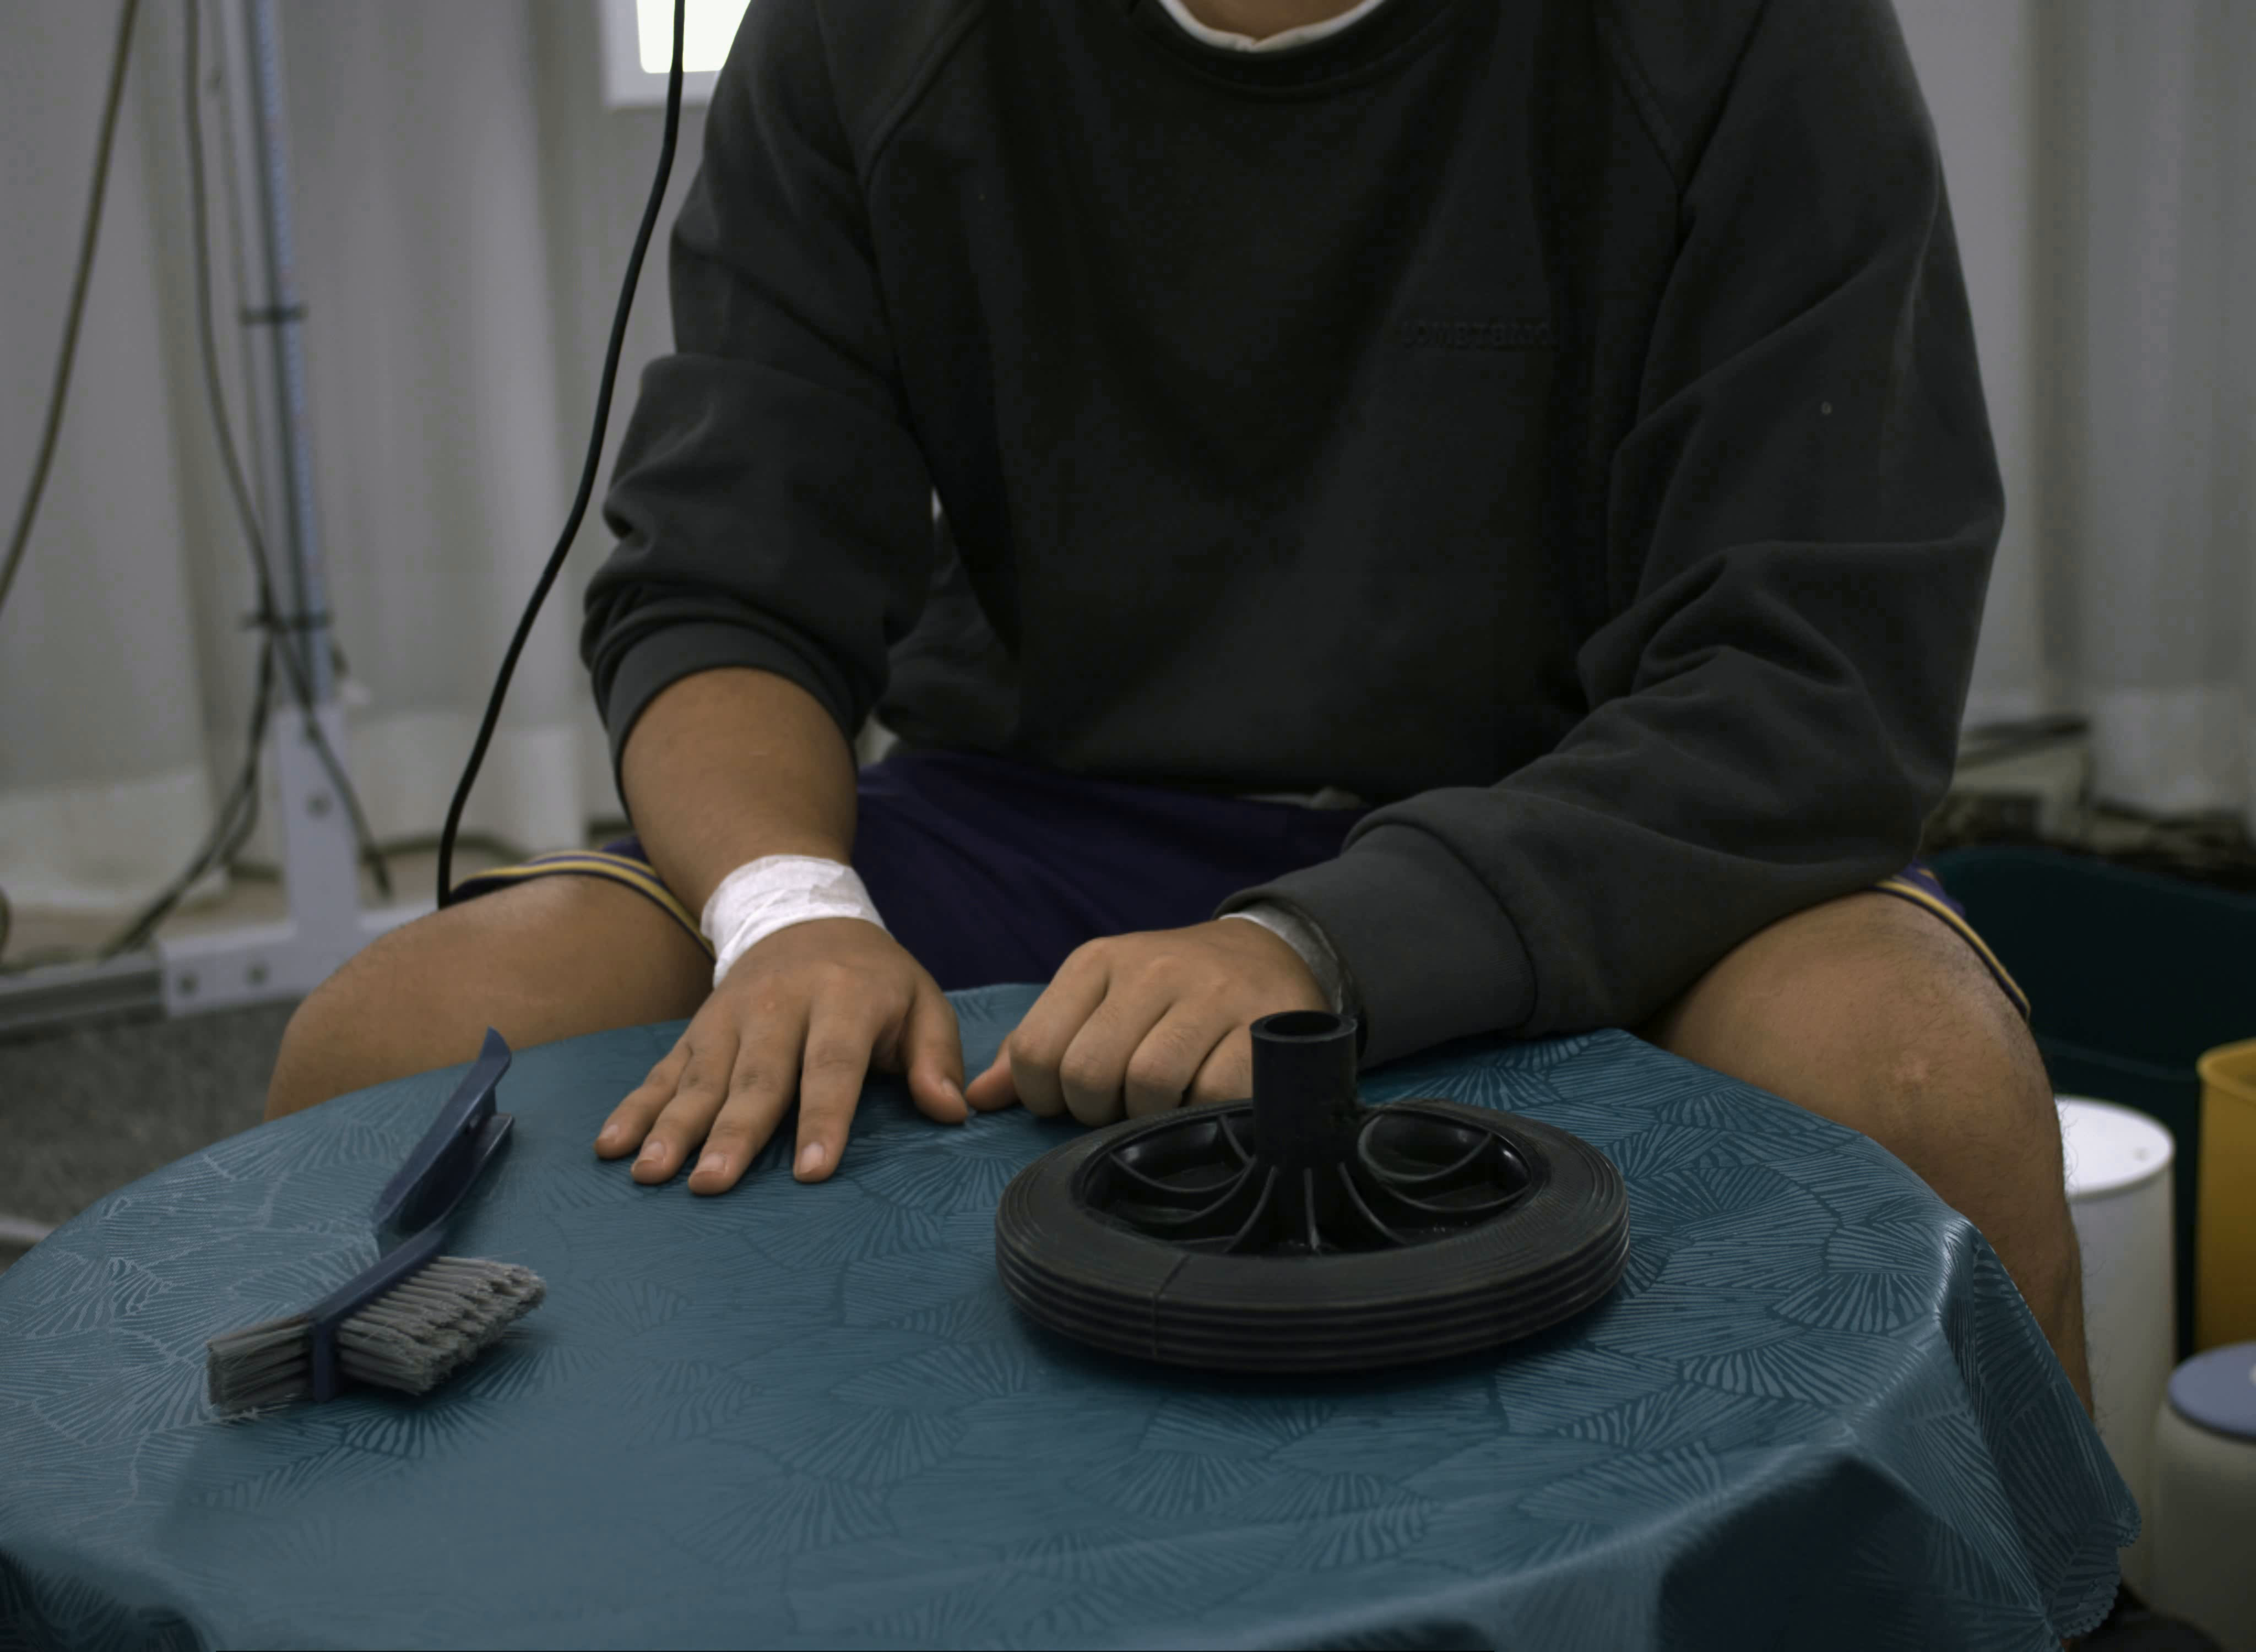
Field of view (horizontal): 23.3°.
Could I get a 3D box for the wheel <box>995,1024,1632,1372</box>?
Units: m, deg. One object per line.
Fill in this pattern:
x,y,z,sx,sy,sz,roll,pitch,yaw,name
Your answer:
0.053,0.100,1.611,0.186,0.079,0.191,-10,16,-23,wheel

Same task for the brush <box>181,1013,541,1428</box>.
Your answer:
-0.227,0.118,1.686,0.095,0.033,0.275,-4,16,-1,brush
